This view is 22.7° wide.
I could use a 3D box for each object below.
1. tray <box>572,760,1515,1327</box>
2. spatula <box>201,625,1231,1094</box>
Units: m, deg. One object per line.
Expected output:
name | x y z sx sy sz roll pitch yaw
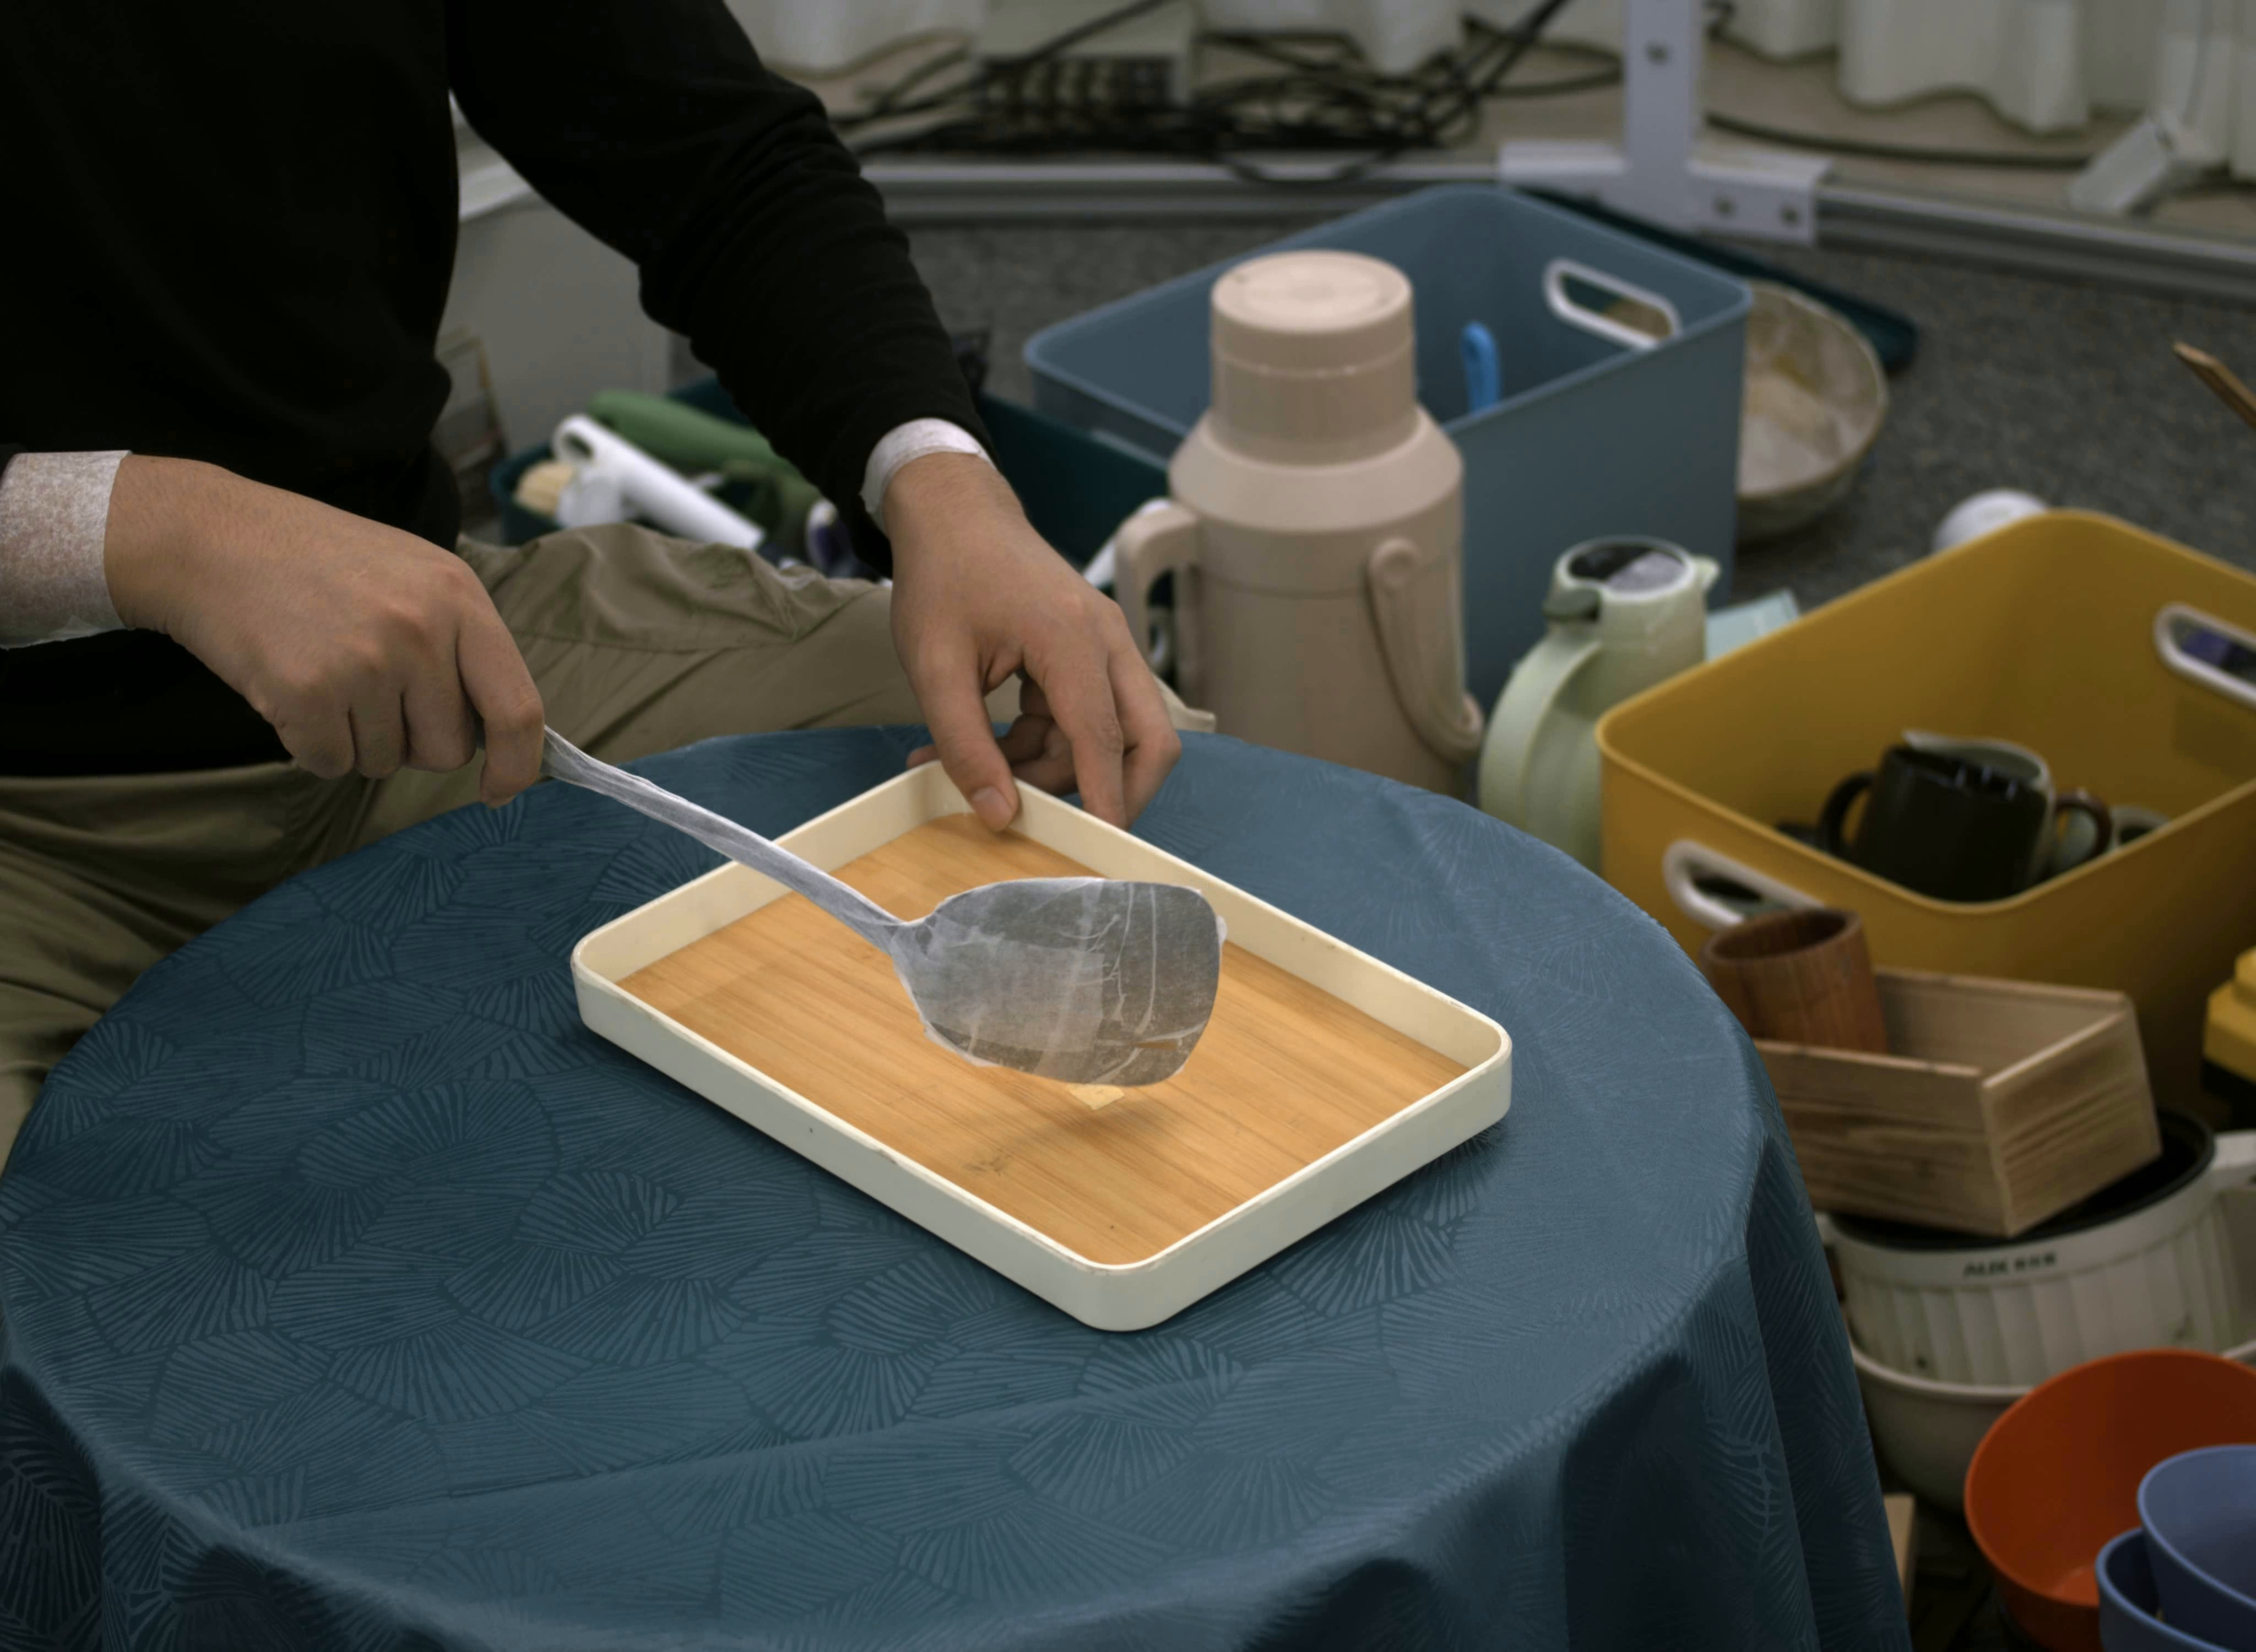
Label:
tray | -0.032 0.069 1.923 0.194 0.027 0.300 -27 37 -33
spatula | -0.140 -0.002 1.875 0.364 0.097 0.045 25 41 10
